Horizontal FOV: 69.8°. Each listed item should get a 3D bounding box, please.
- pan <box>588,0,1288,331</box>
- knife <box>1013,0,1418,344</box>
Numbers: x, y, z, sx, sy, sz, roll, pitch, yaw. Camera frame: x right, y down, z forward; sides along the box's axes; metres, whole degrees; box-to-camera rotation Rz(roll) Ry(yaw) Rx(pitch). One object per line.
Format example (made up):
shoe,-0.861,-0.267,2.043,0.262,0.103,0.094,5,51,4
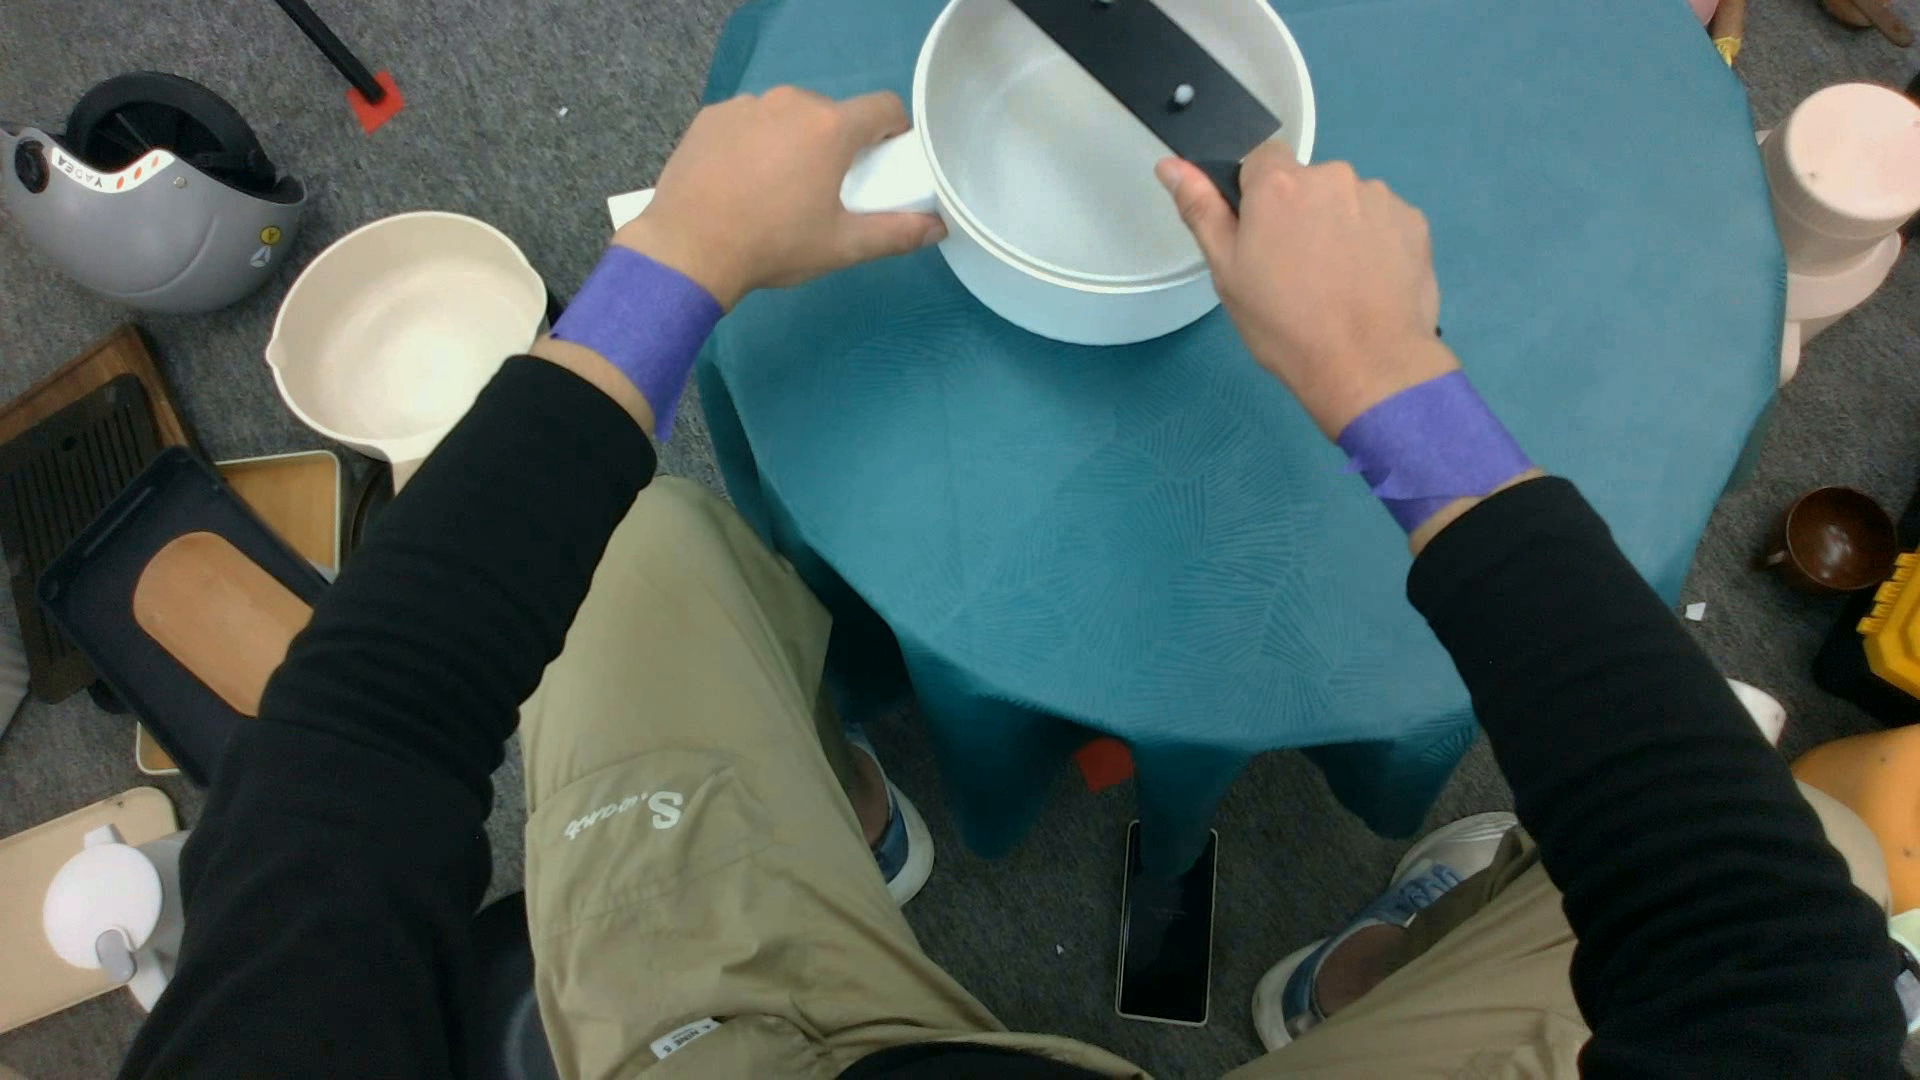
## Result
pan,-0.009,-0.191,0.728,0.355,0.102,0.201,-16,76,-5
knife,0.100,-0.205,0.639,0.081,0.021,0.302,-35,80,-30
